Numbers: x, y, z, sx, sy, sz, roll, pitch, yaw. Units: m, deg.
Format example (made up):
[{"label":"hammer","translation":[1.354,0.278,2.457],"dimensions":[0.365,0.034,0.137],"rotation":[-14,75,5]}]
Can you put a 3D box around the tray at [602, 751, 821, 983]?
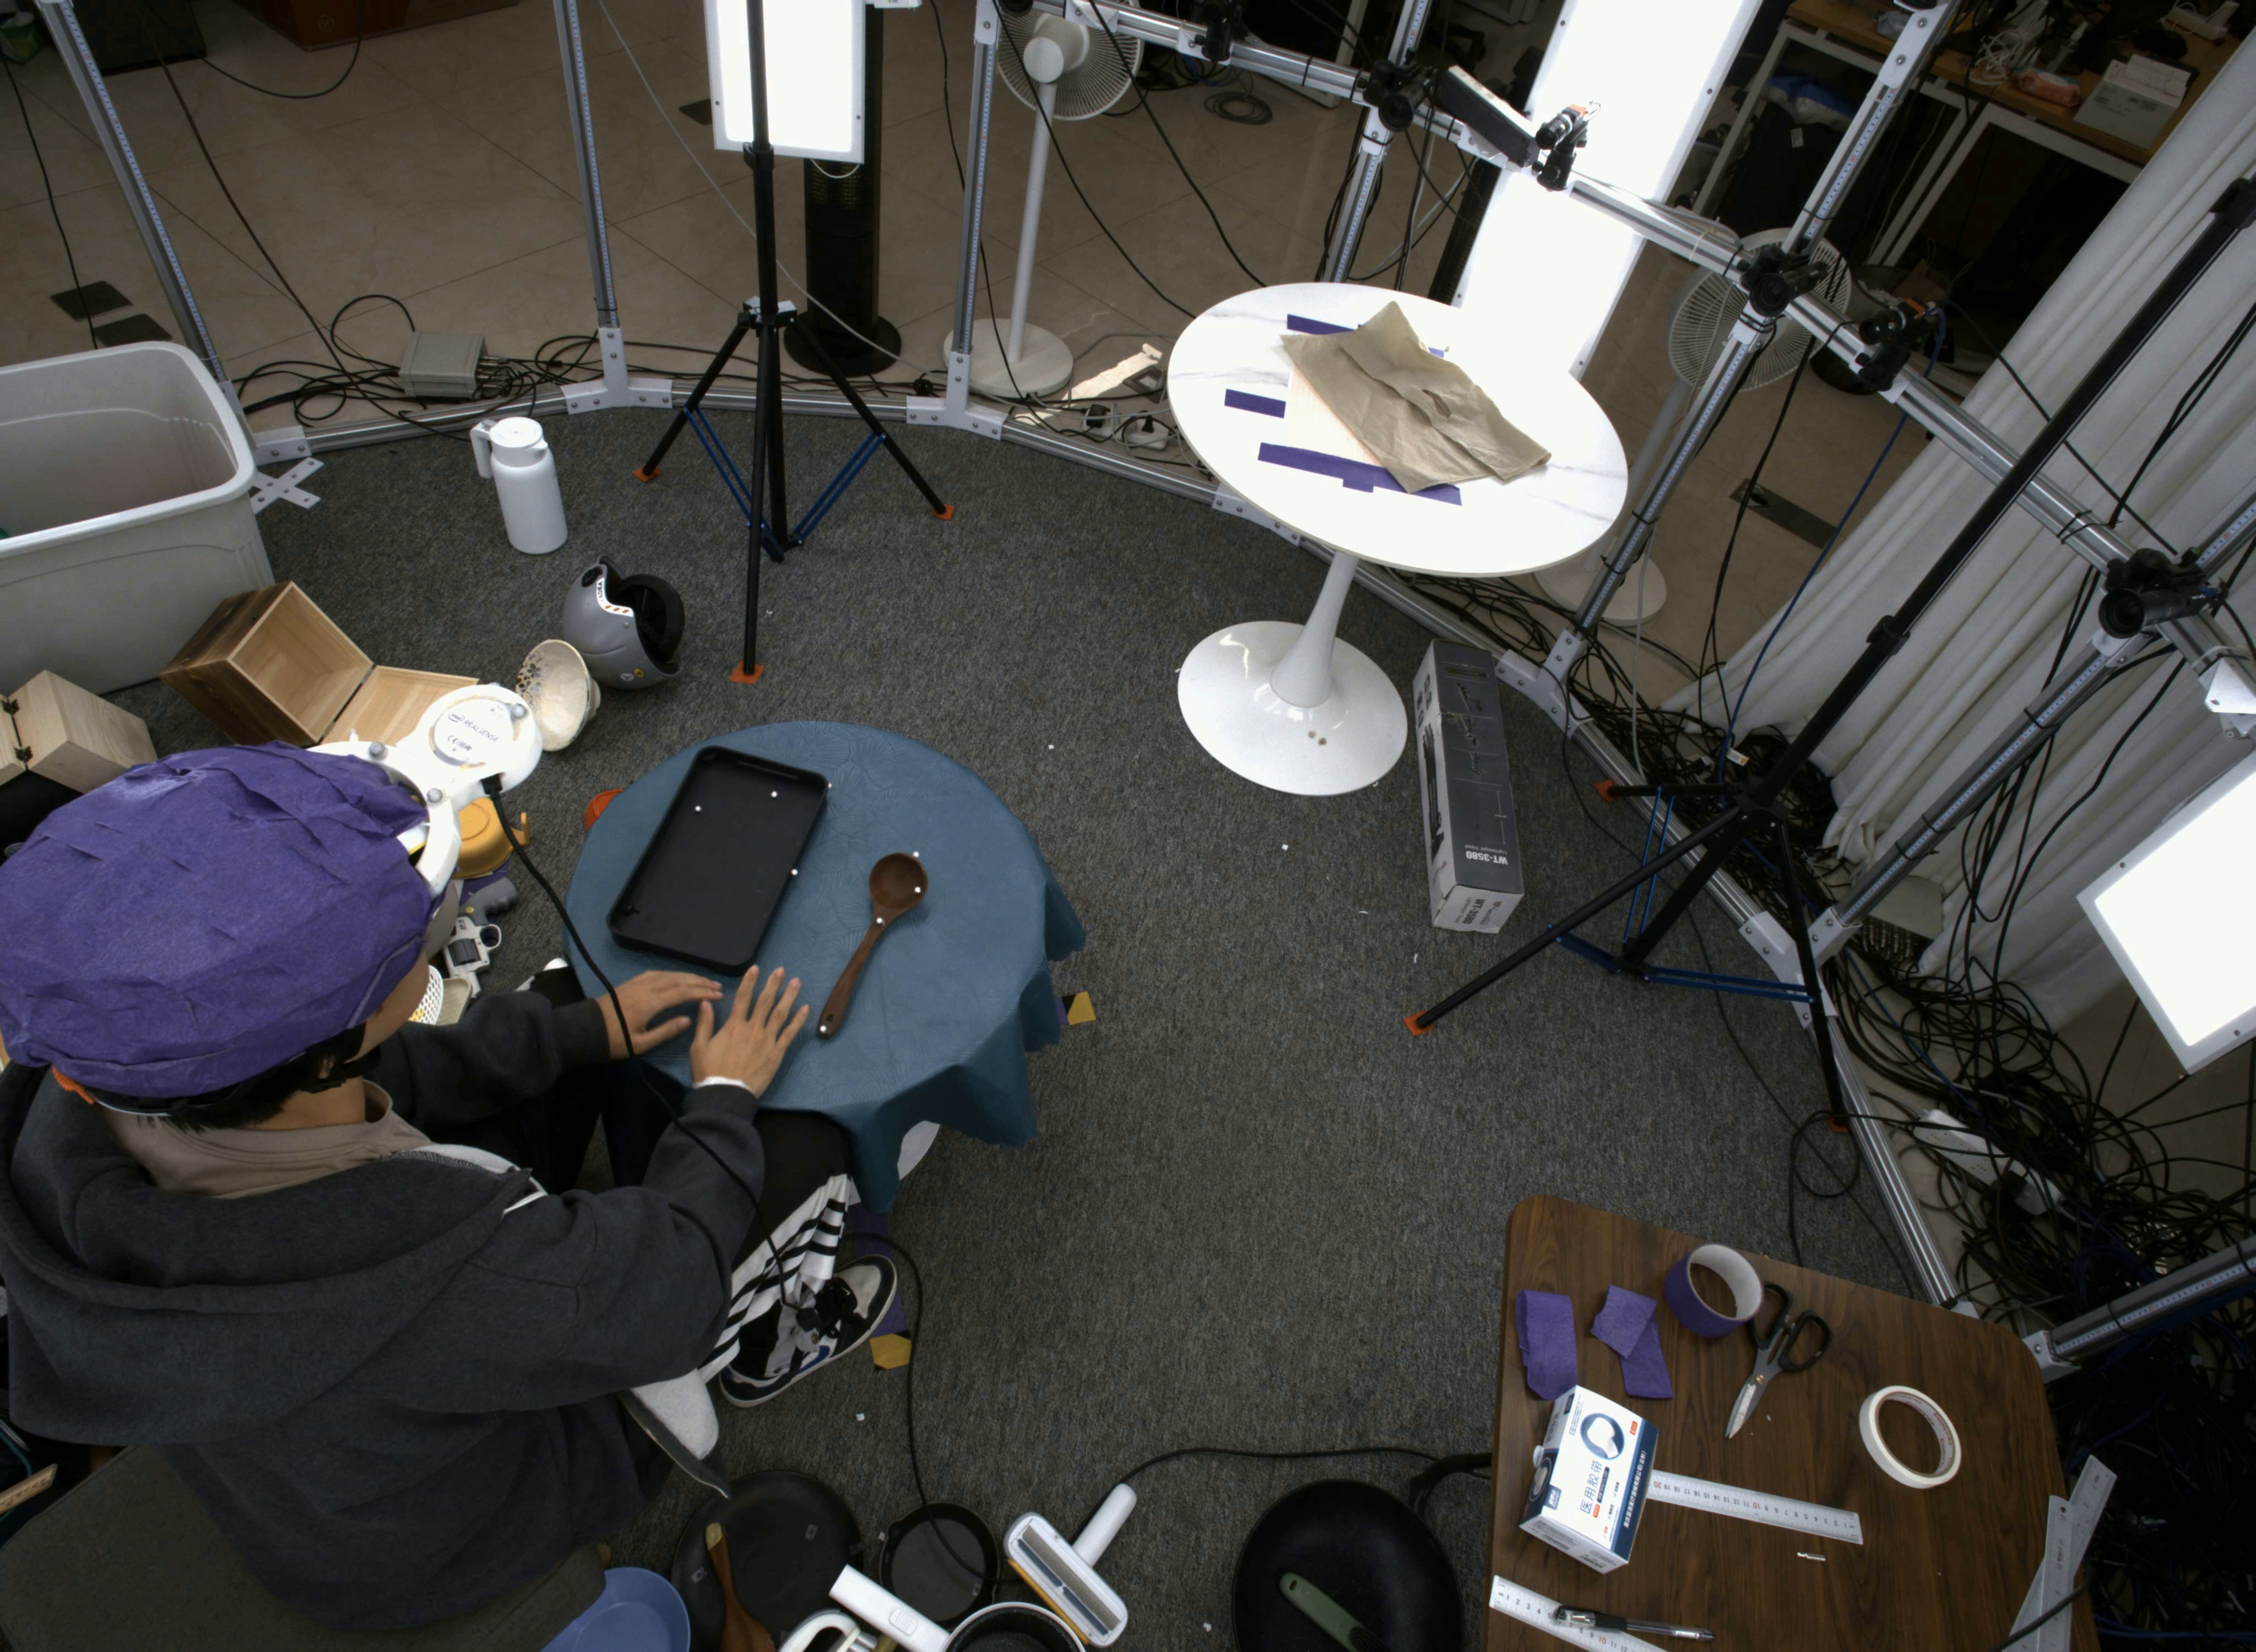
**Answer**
[{"label":"tray","translation":[-0.524,0.044,1.644],"dimensions":[0.183,0.038,0.313],"rotation":[16,50,-3]}]

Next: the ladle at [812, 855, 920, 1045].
[{"label":"ladle","translation":[-0.331,0.145,1.603],"dimensions":[0.075,0.067,0.257],"rotation":[16,51,6]}]
